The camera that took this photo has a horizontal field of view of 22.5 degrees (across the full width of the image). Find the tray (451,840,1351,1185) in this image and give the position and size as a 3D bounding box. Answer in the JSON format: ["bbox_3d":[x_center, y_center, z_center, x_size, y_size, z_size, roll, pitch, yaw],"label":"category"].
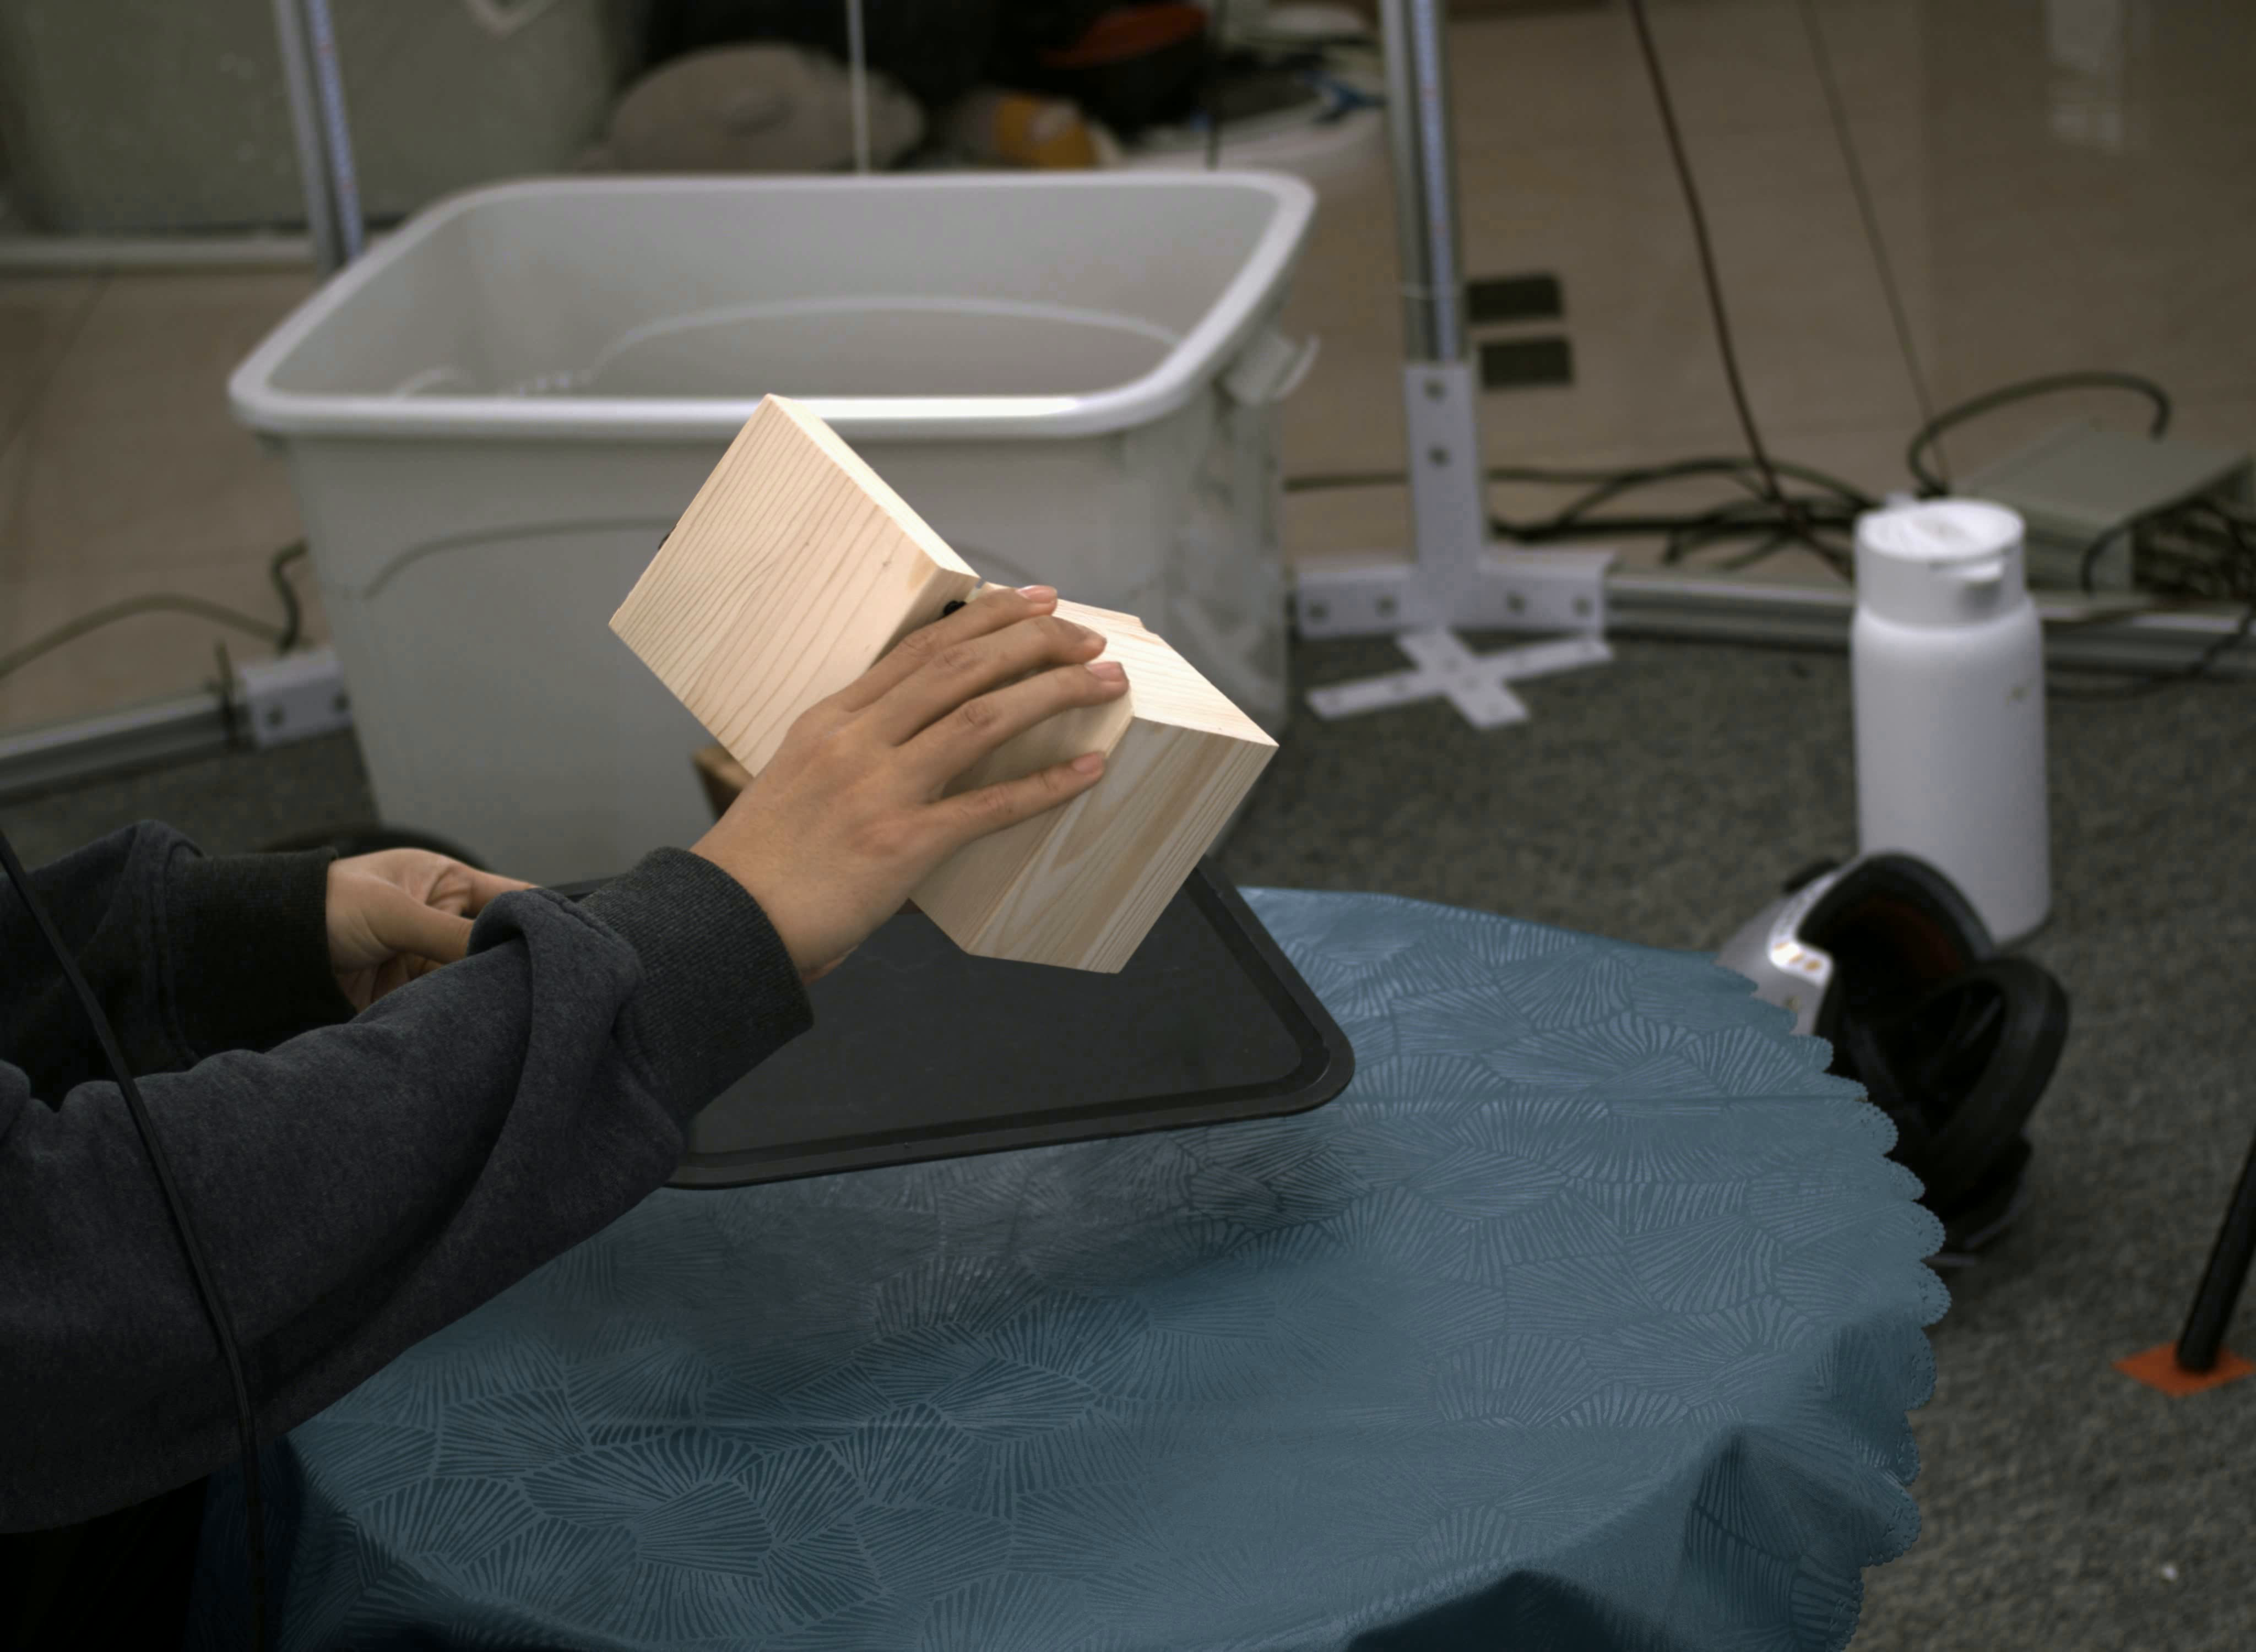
[{"bbox_3d":[-0.090,0.063,2.121,0.324,0.010,0.208,-6,33,-21],"label":"tray"}]

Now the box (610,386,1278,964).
[{"bbox_3d":[-0.064,-0.052,1.955,0.182,0.103,0.134,45,18,24],"label":"box"}]
